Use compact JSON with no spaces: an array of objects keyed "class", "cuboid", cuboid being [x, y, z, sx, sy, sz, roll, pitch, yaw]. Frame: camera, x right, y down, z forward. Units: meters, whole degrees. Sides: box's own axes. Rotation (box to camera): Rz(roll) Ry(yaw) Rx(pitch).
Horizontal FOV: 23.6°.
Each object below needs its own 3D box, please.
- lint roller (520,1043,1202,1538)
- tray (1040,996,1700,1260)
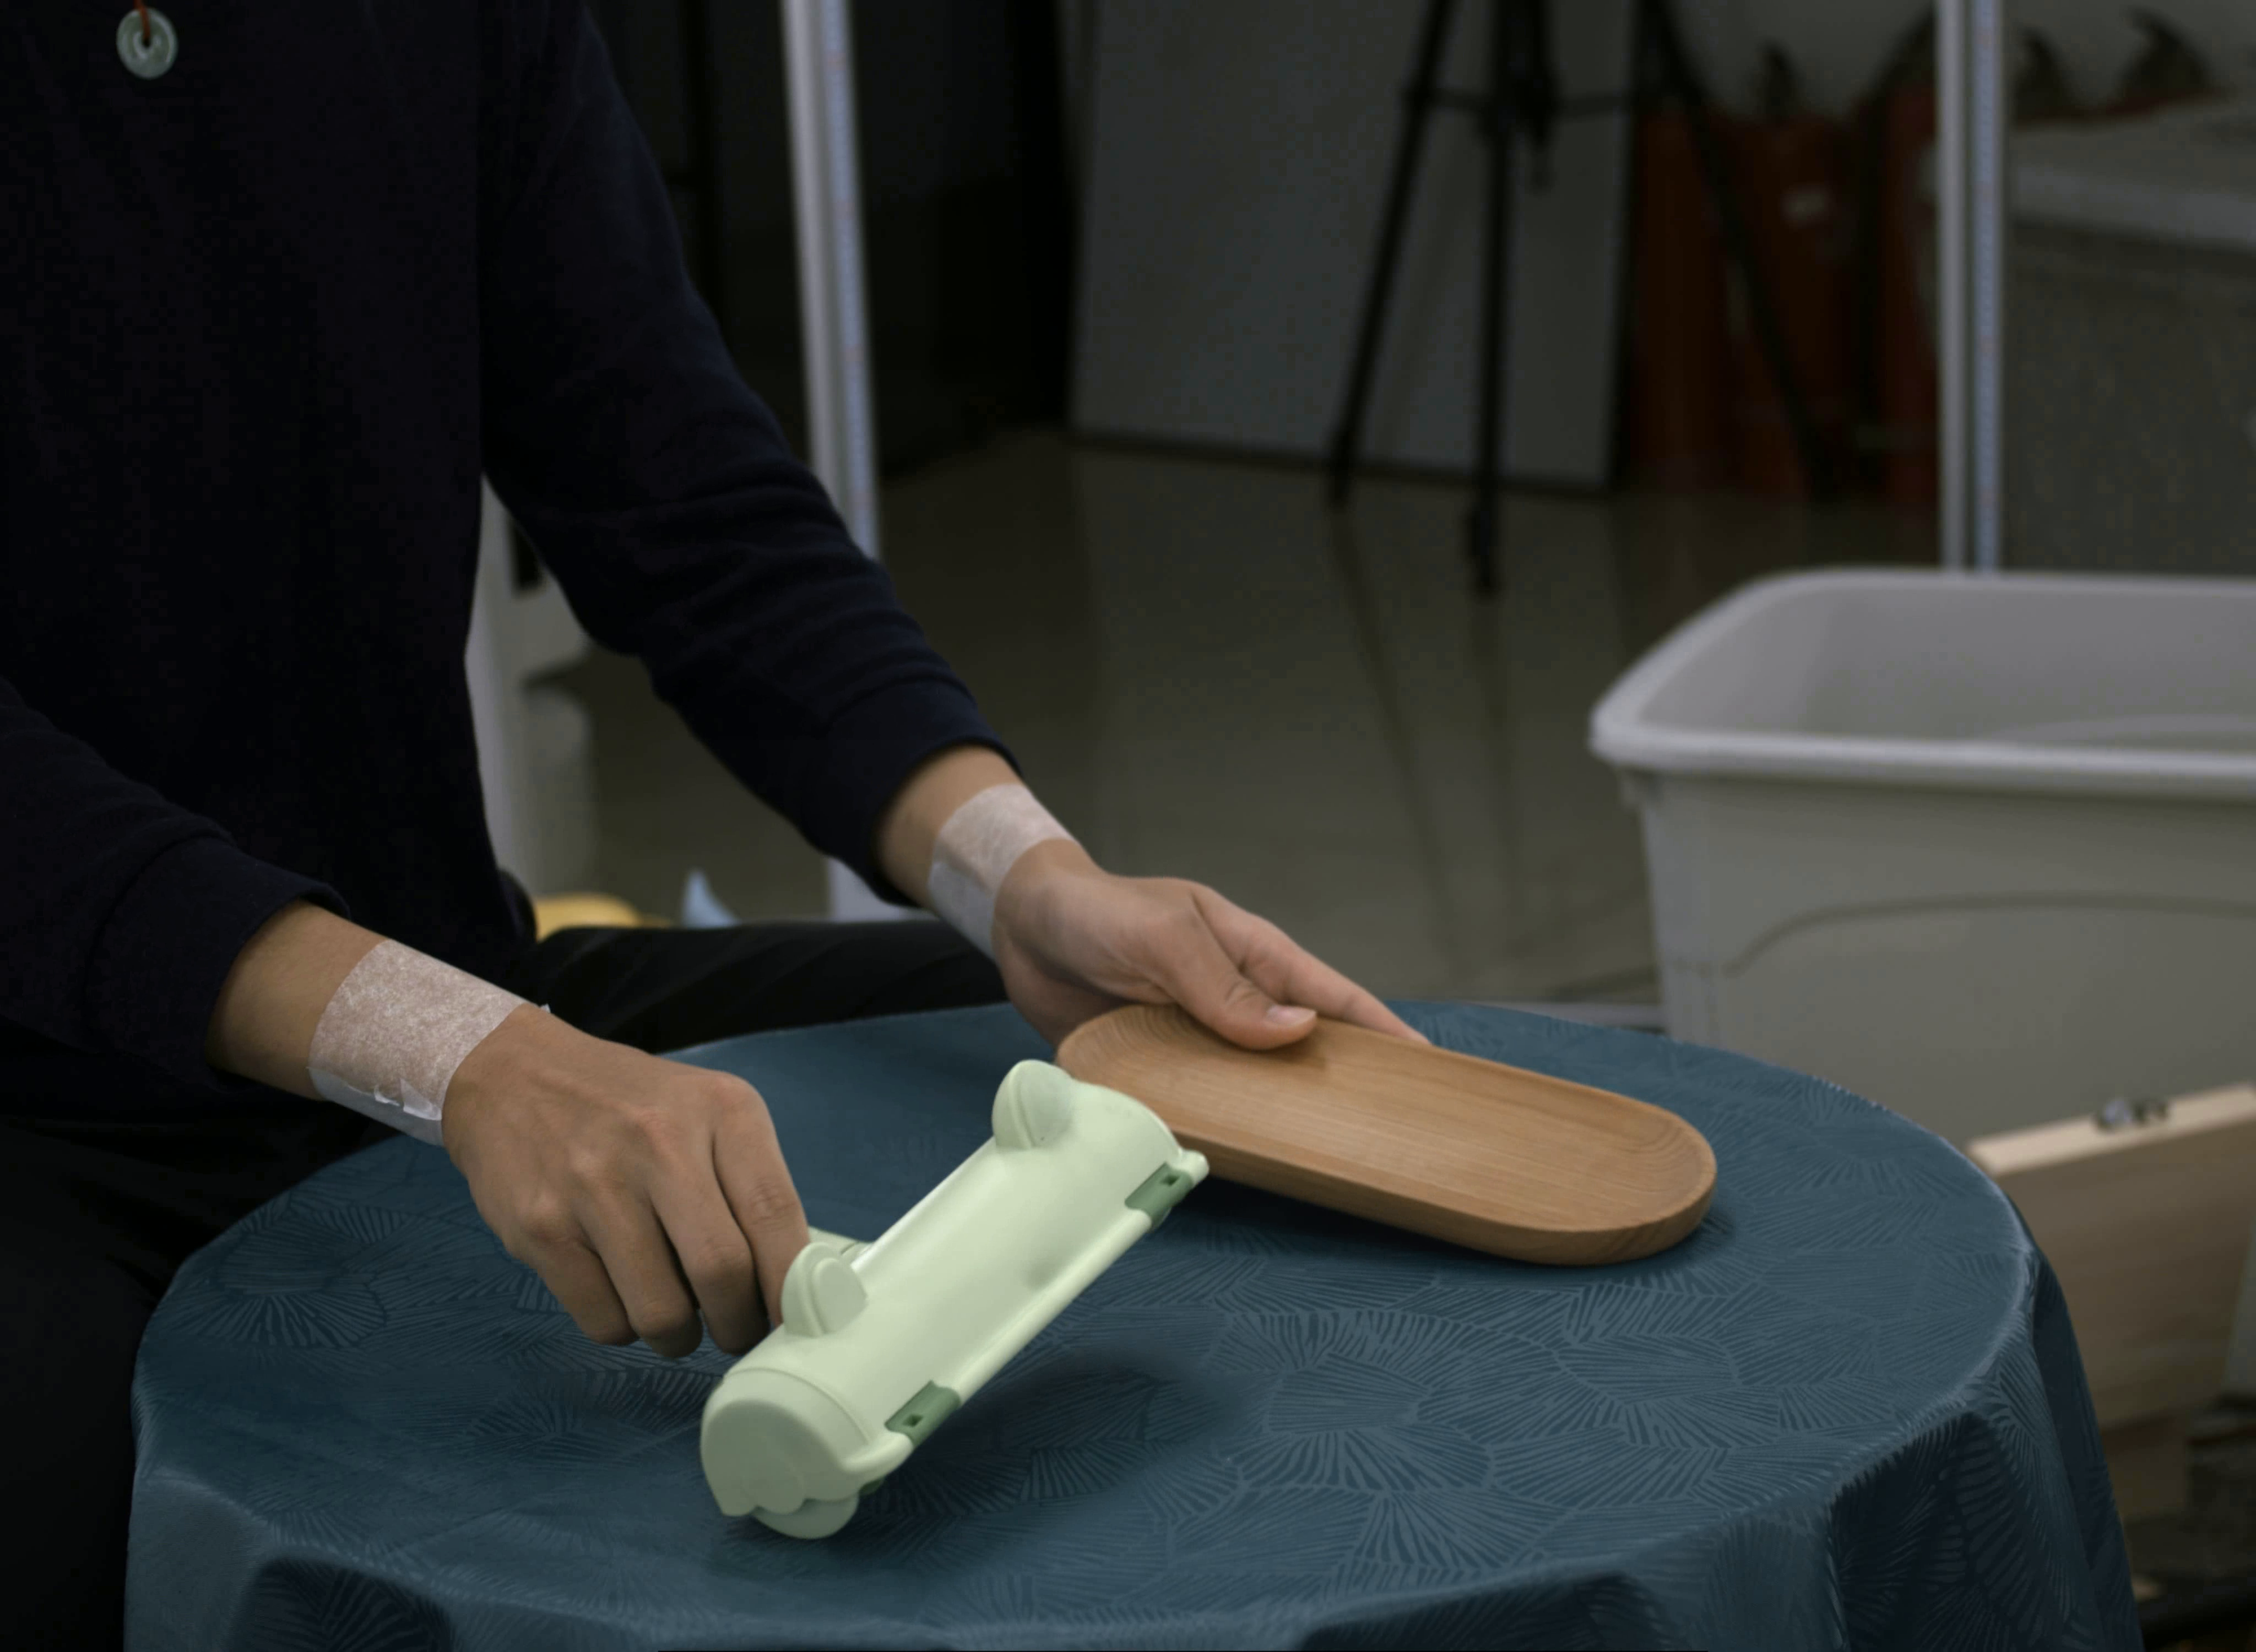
[{"class":"lint roller","cuboid":[-0.099,0.111,1.566,0.184,0.083,0.196,18,33,23]},{"class":"tray","cuboid":[0.076,0.097,1.742,0.232,0.020,0.100,12,25,30]}]
